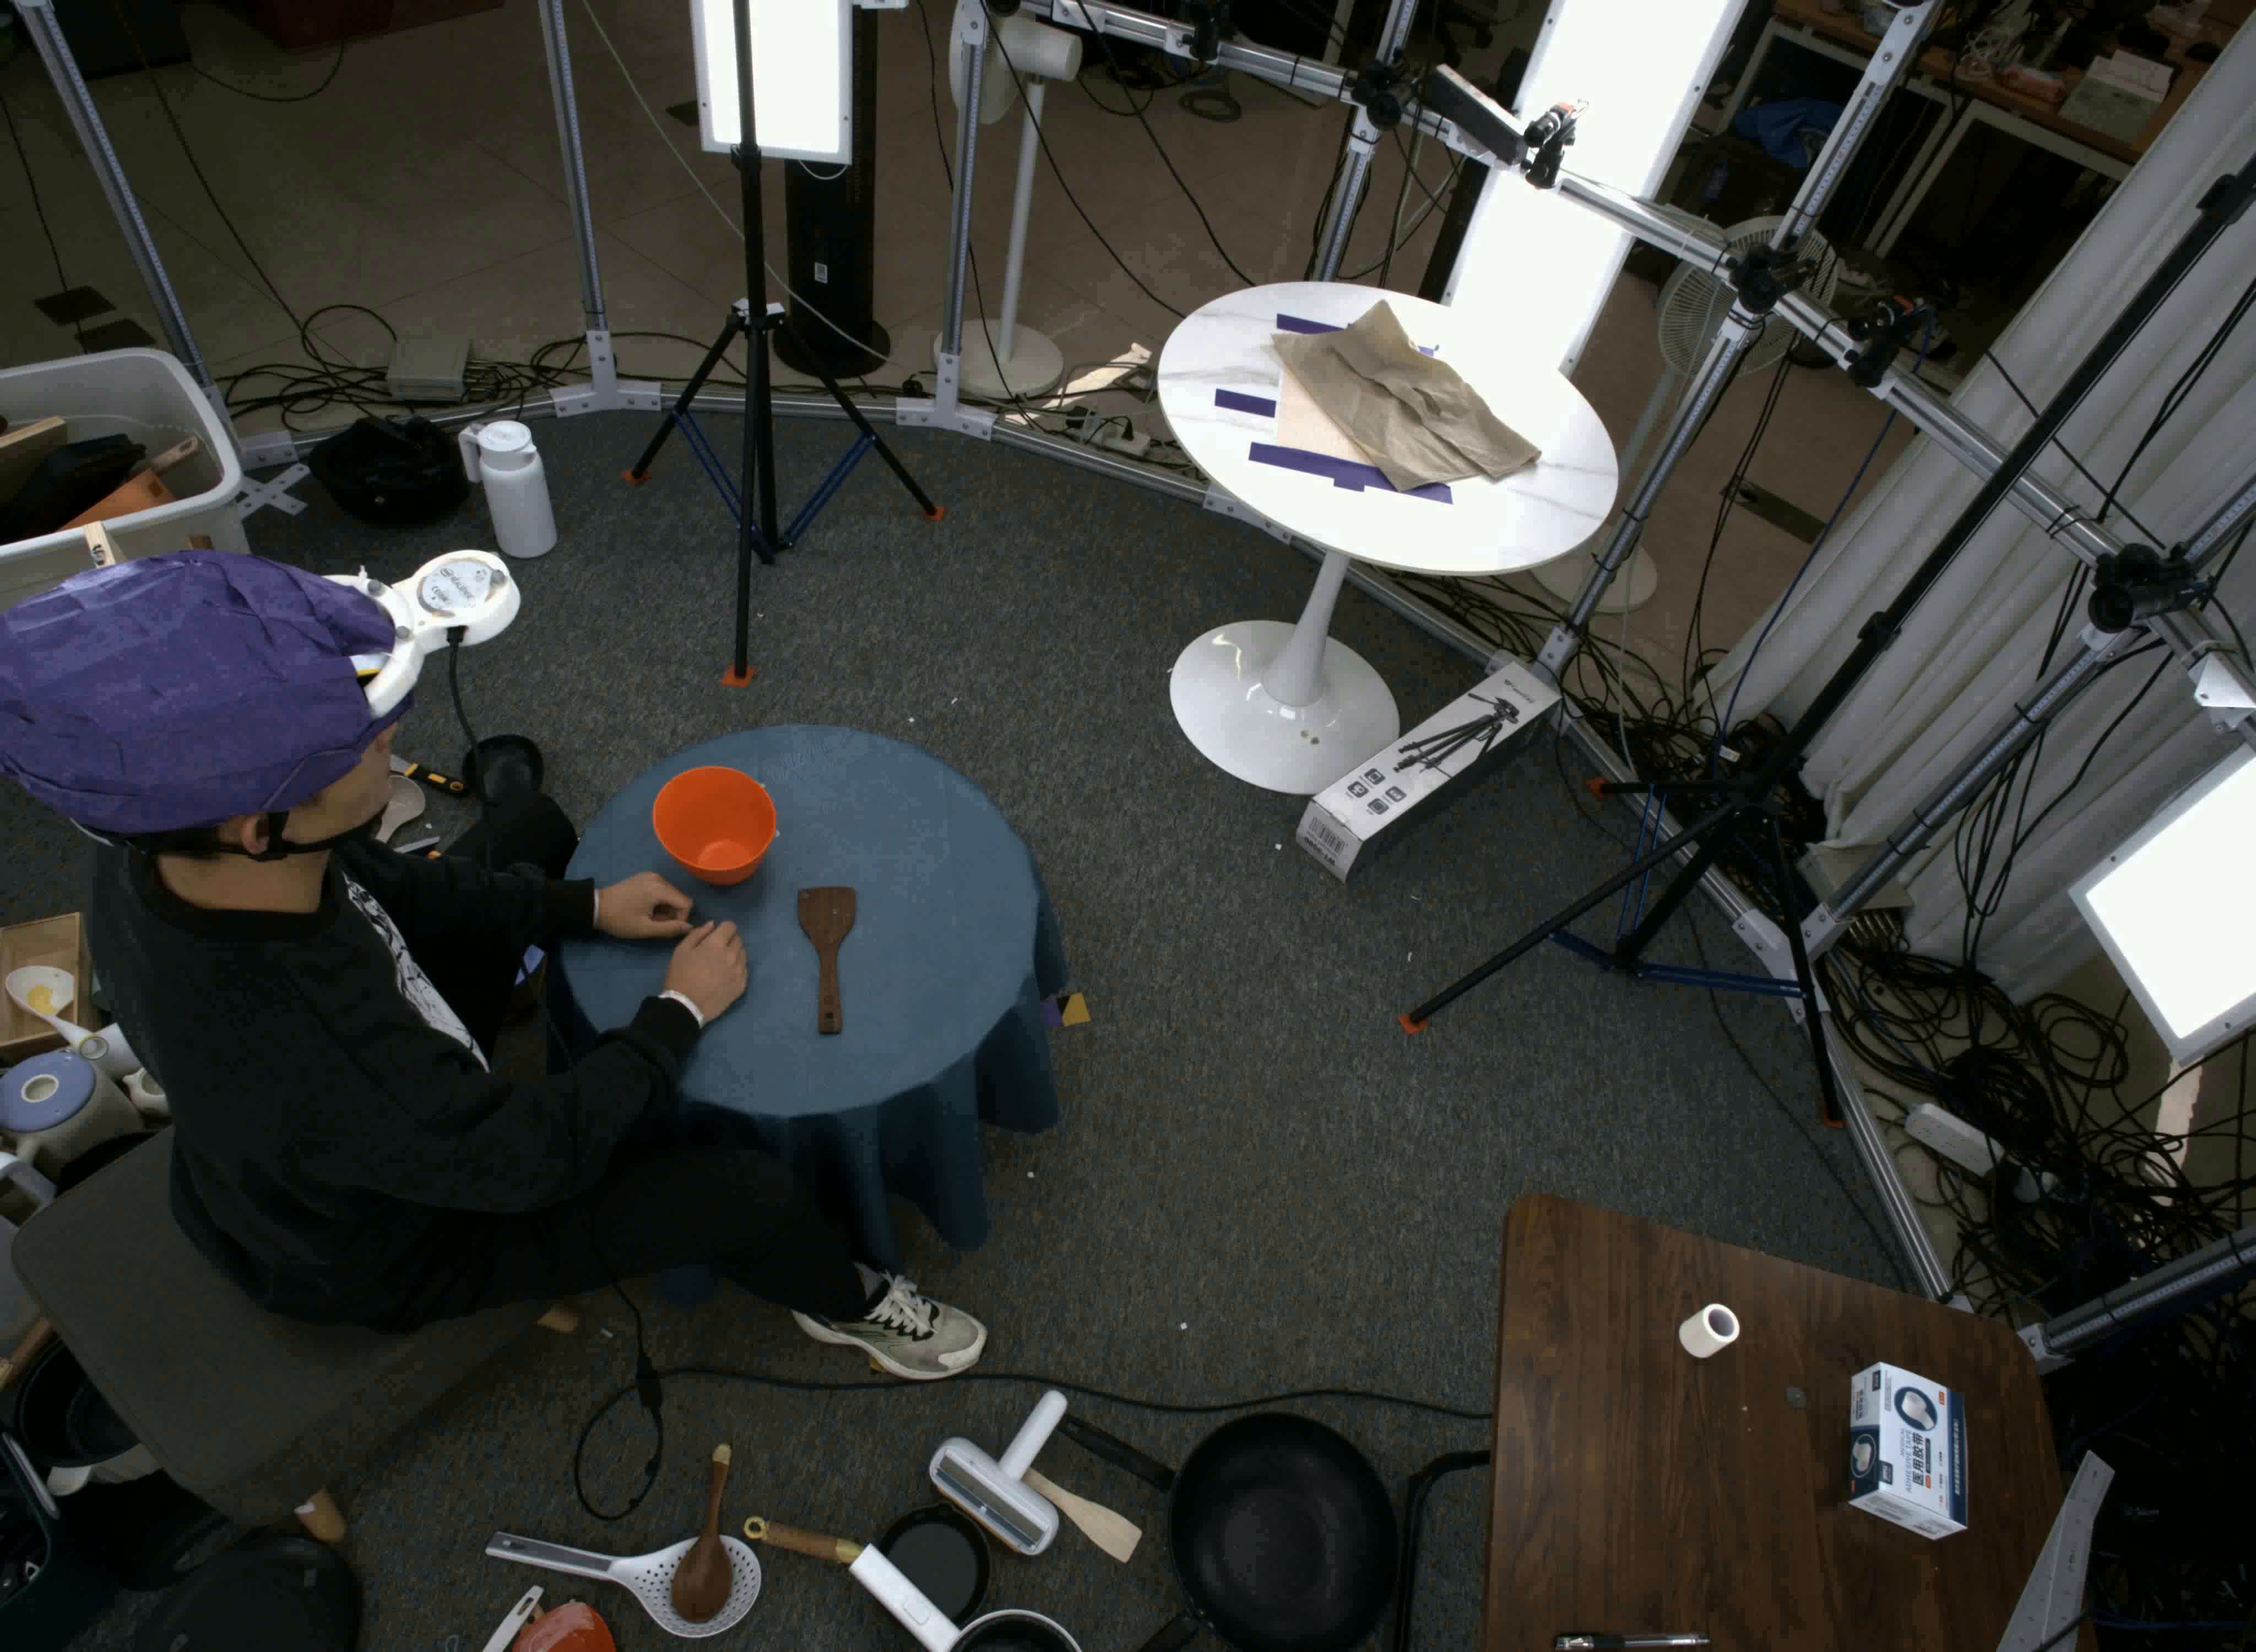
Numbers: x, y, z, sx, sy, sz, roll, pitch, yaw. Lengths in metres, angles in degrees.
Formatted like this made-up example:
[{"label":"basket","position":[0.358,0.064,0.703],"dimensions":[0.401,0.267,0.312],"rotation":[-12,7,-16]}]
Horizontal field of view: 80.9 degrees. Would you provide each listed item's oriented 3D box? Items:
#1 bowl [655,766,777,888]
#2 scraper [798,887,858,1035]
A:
[{"label":"bowl","position":[-0.517,0.012,1.631],"dimensions":[0.148,0.107,0.145],"rotation":[8,51,-8]},{"label":"scraper","position":[-0.372,0.164,1.616],"dimensions":[0.076,0.011,0.207],"rotation":[-2,55,-13]}]
